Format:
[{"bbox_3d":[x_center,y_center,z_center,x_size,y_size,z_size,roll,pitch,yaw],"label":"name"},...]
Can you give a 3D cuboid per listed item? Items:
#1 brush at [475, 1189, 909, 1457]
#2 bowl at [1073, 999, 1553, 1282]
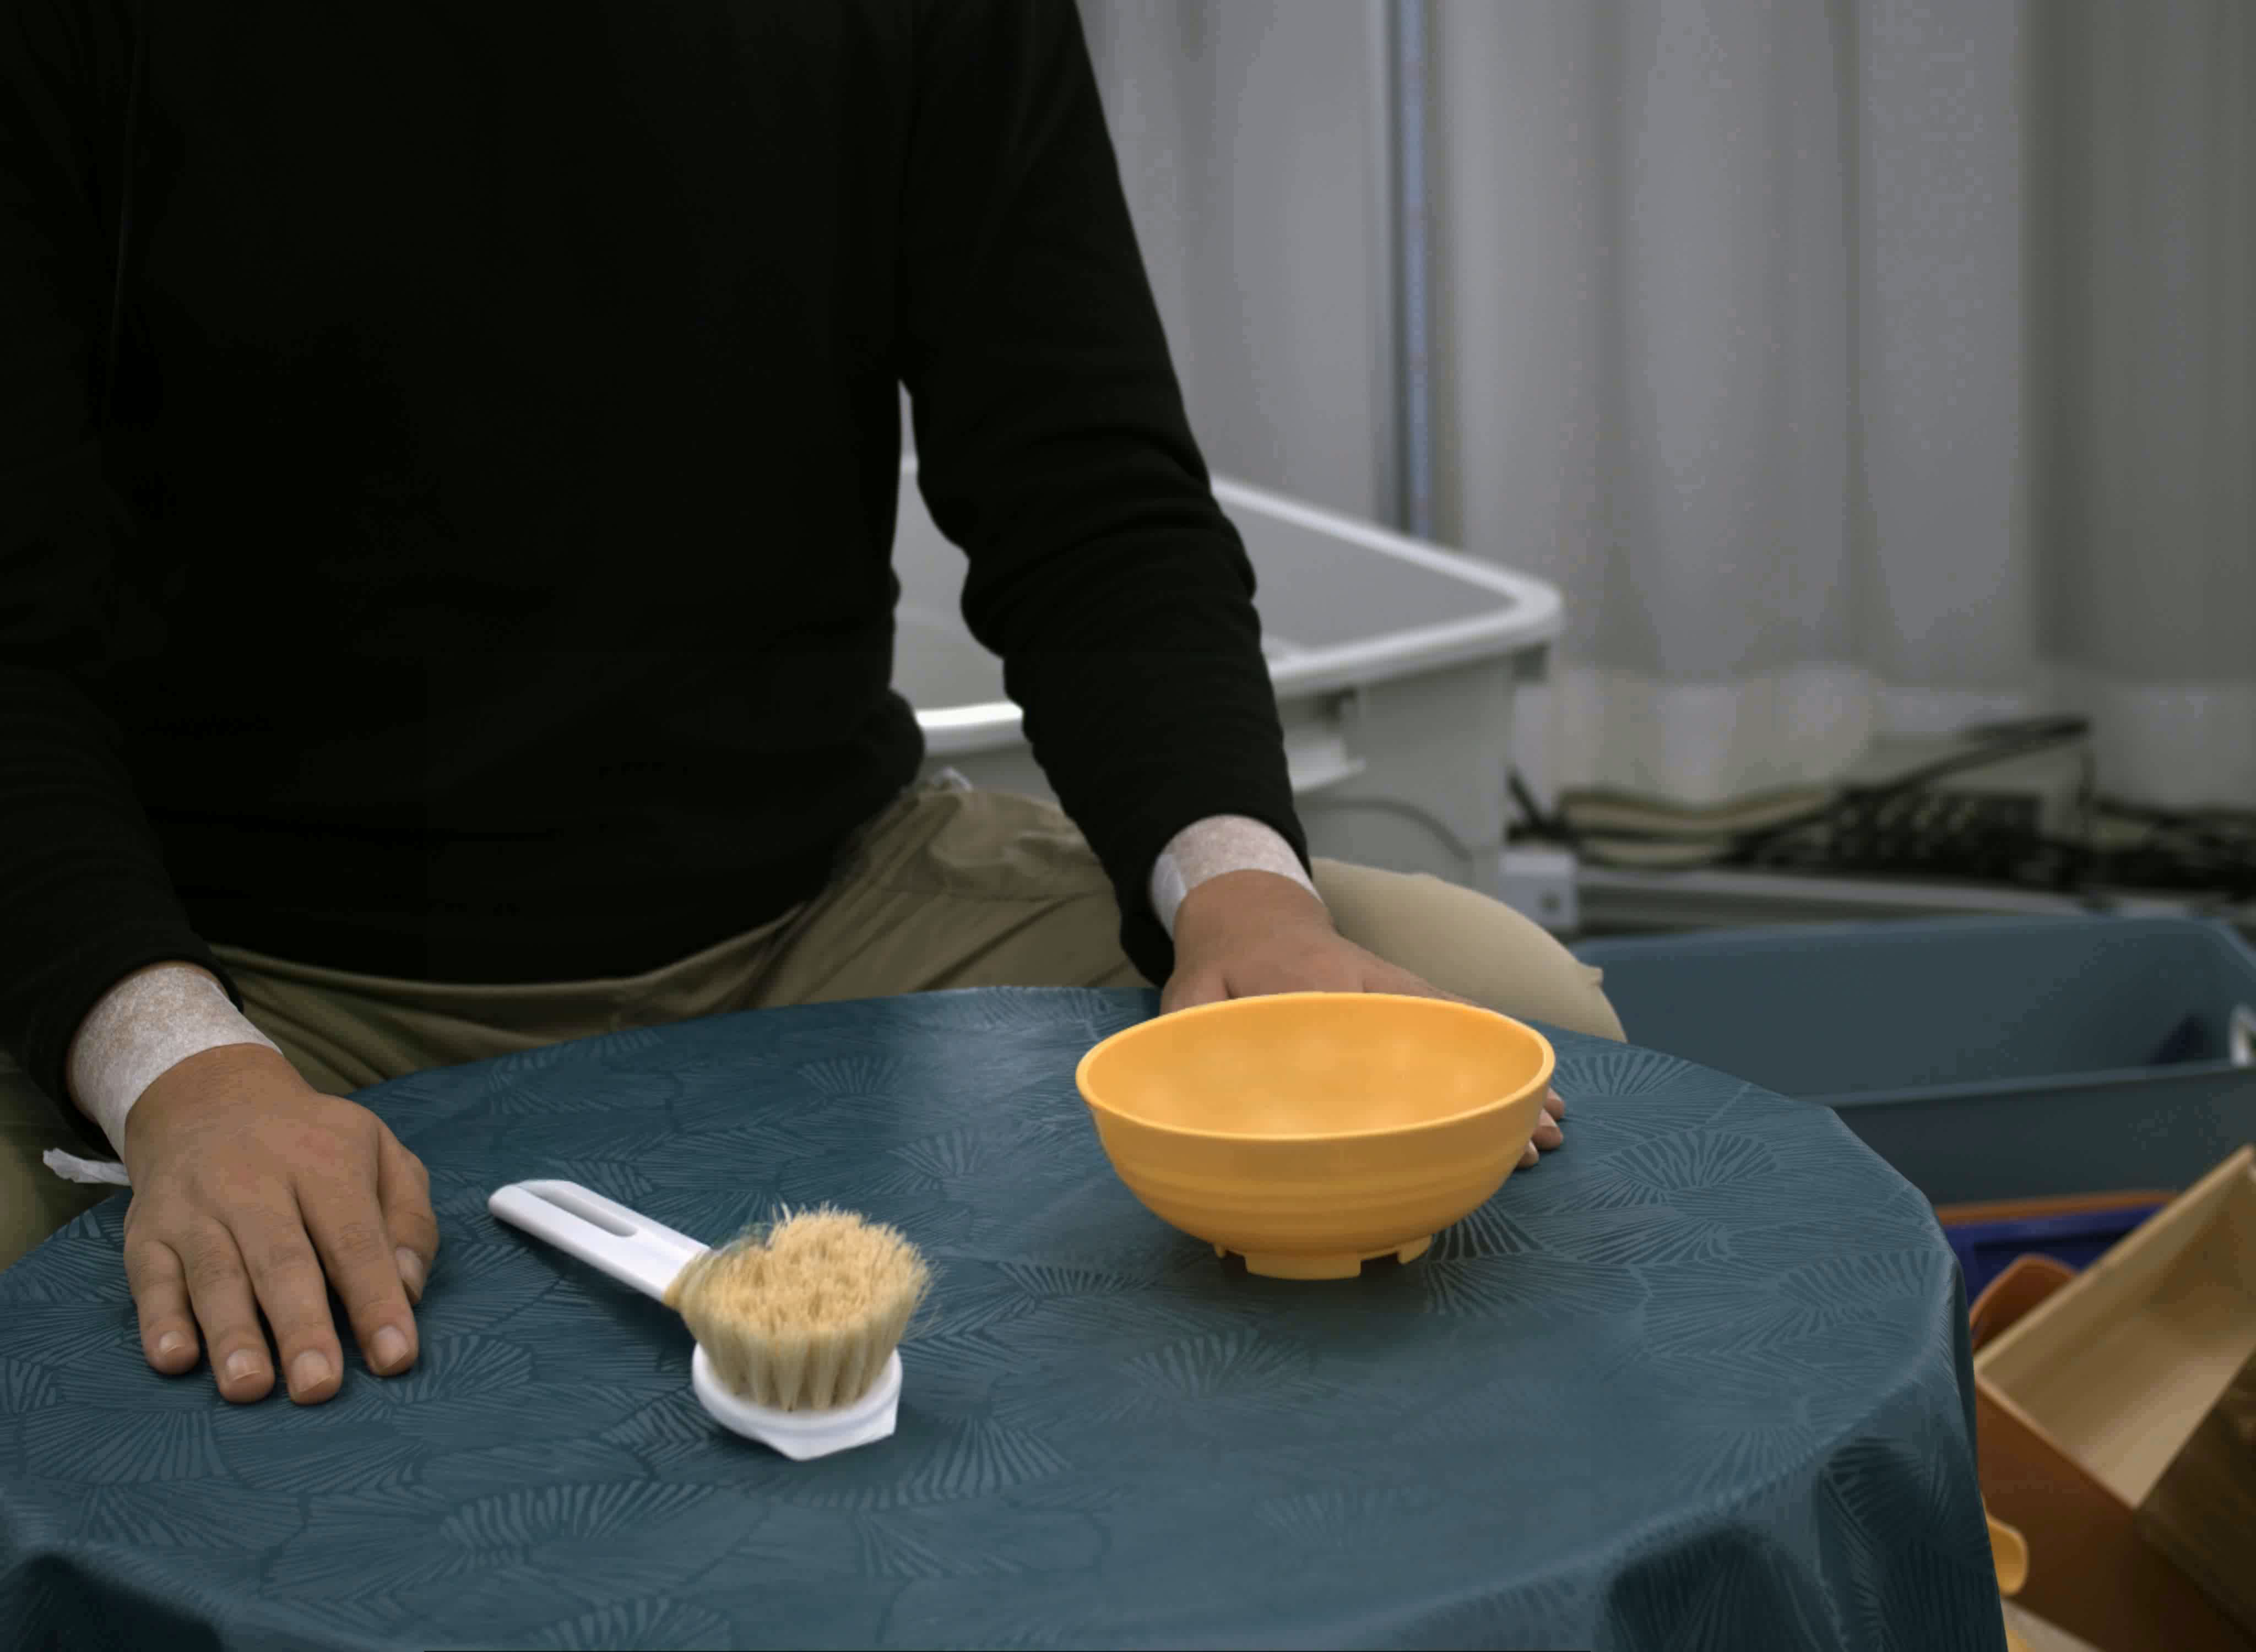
[{"bbox_3d":[-0.140,0.122,1.611,0.068,0.056,0.268,-4,13,-25],"label":"brush"},{"bbox_3d":[0.056,0.099,1.649,0.145,0.060,0.146,-2,14,0],"label":"bowl"}]
